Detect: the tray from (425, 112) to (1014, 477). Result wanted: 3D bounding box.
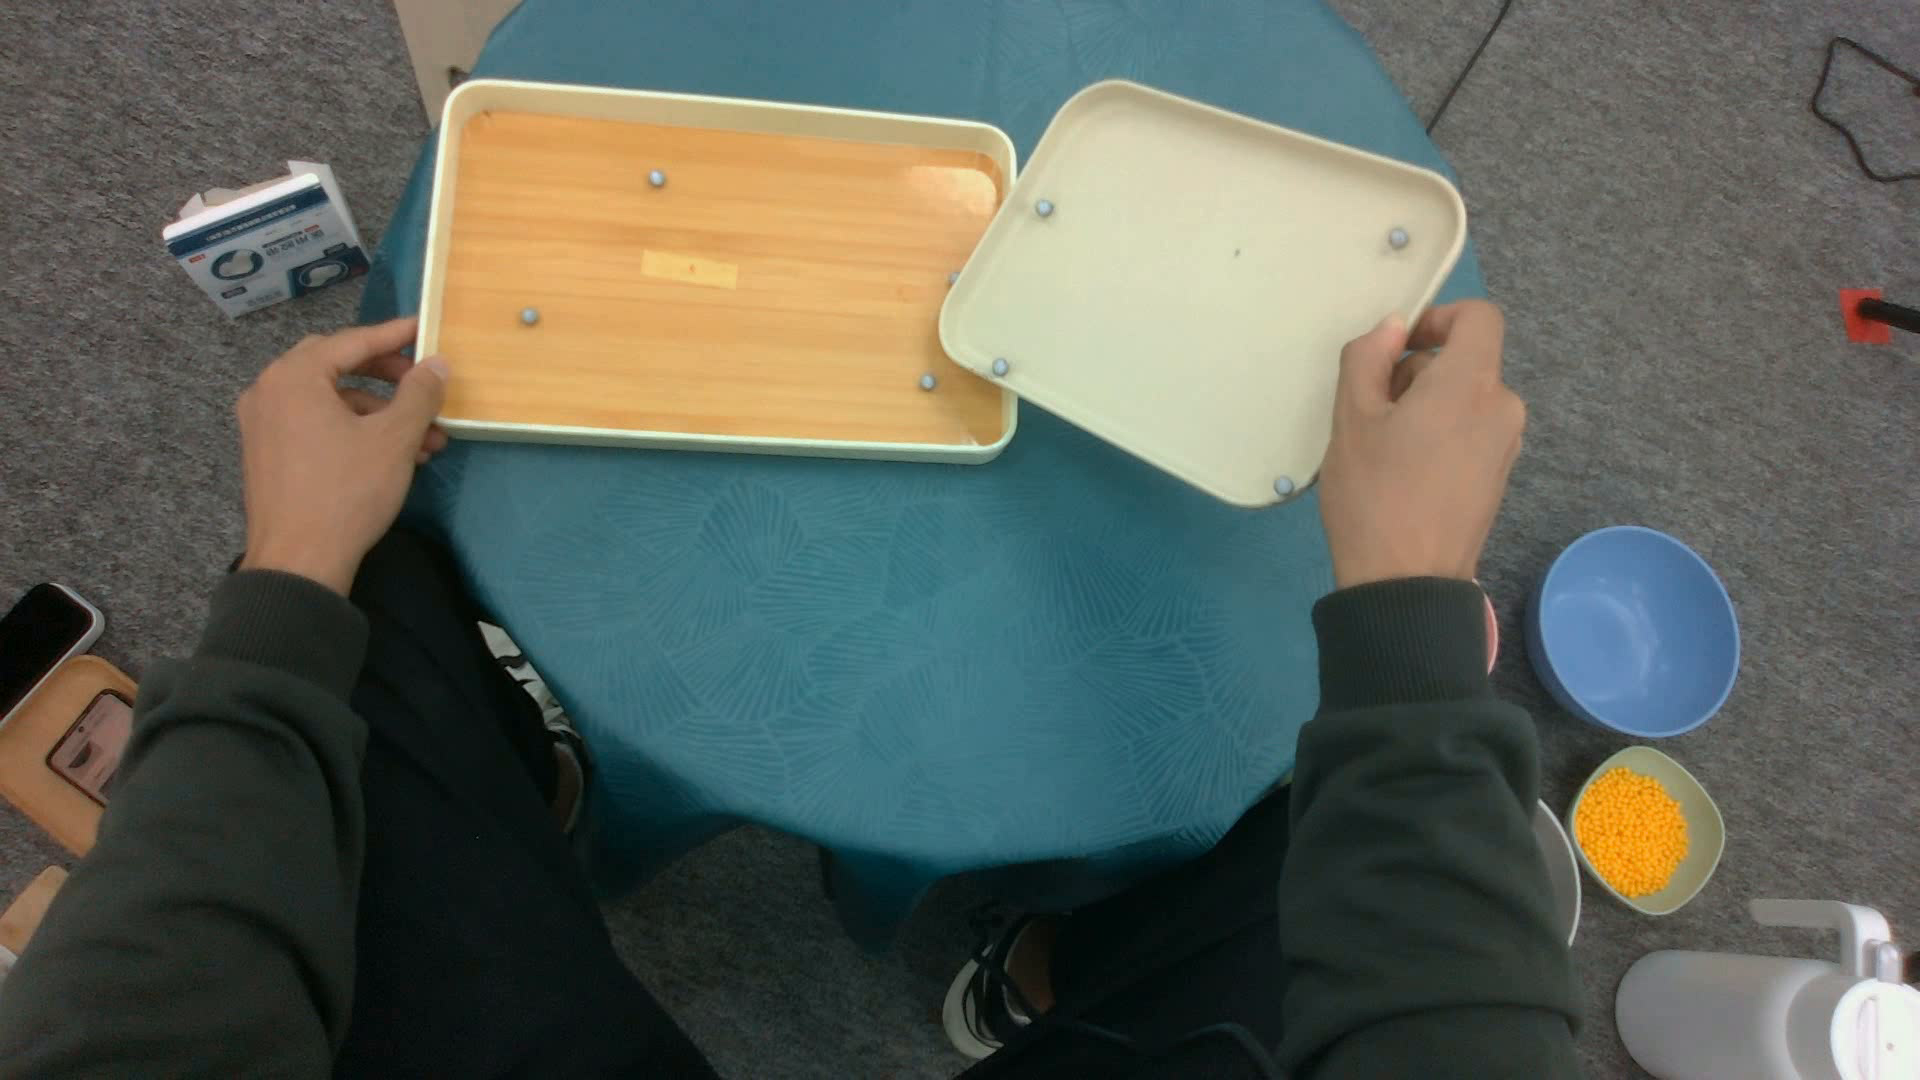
[{"bbox_3d":[-0.122,-0.131,0.739,0.300,0.027,0.192,2,75,-7],"label":"tray"}]

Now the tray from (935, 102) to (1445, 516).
[{"bbox_3d":[0.103,-0.121,0.680,0.239,0.017,0.171,31,90,37],"label":"tray"}]
